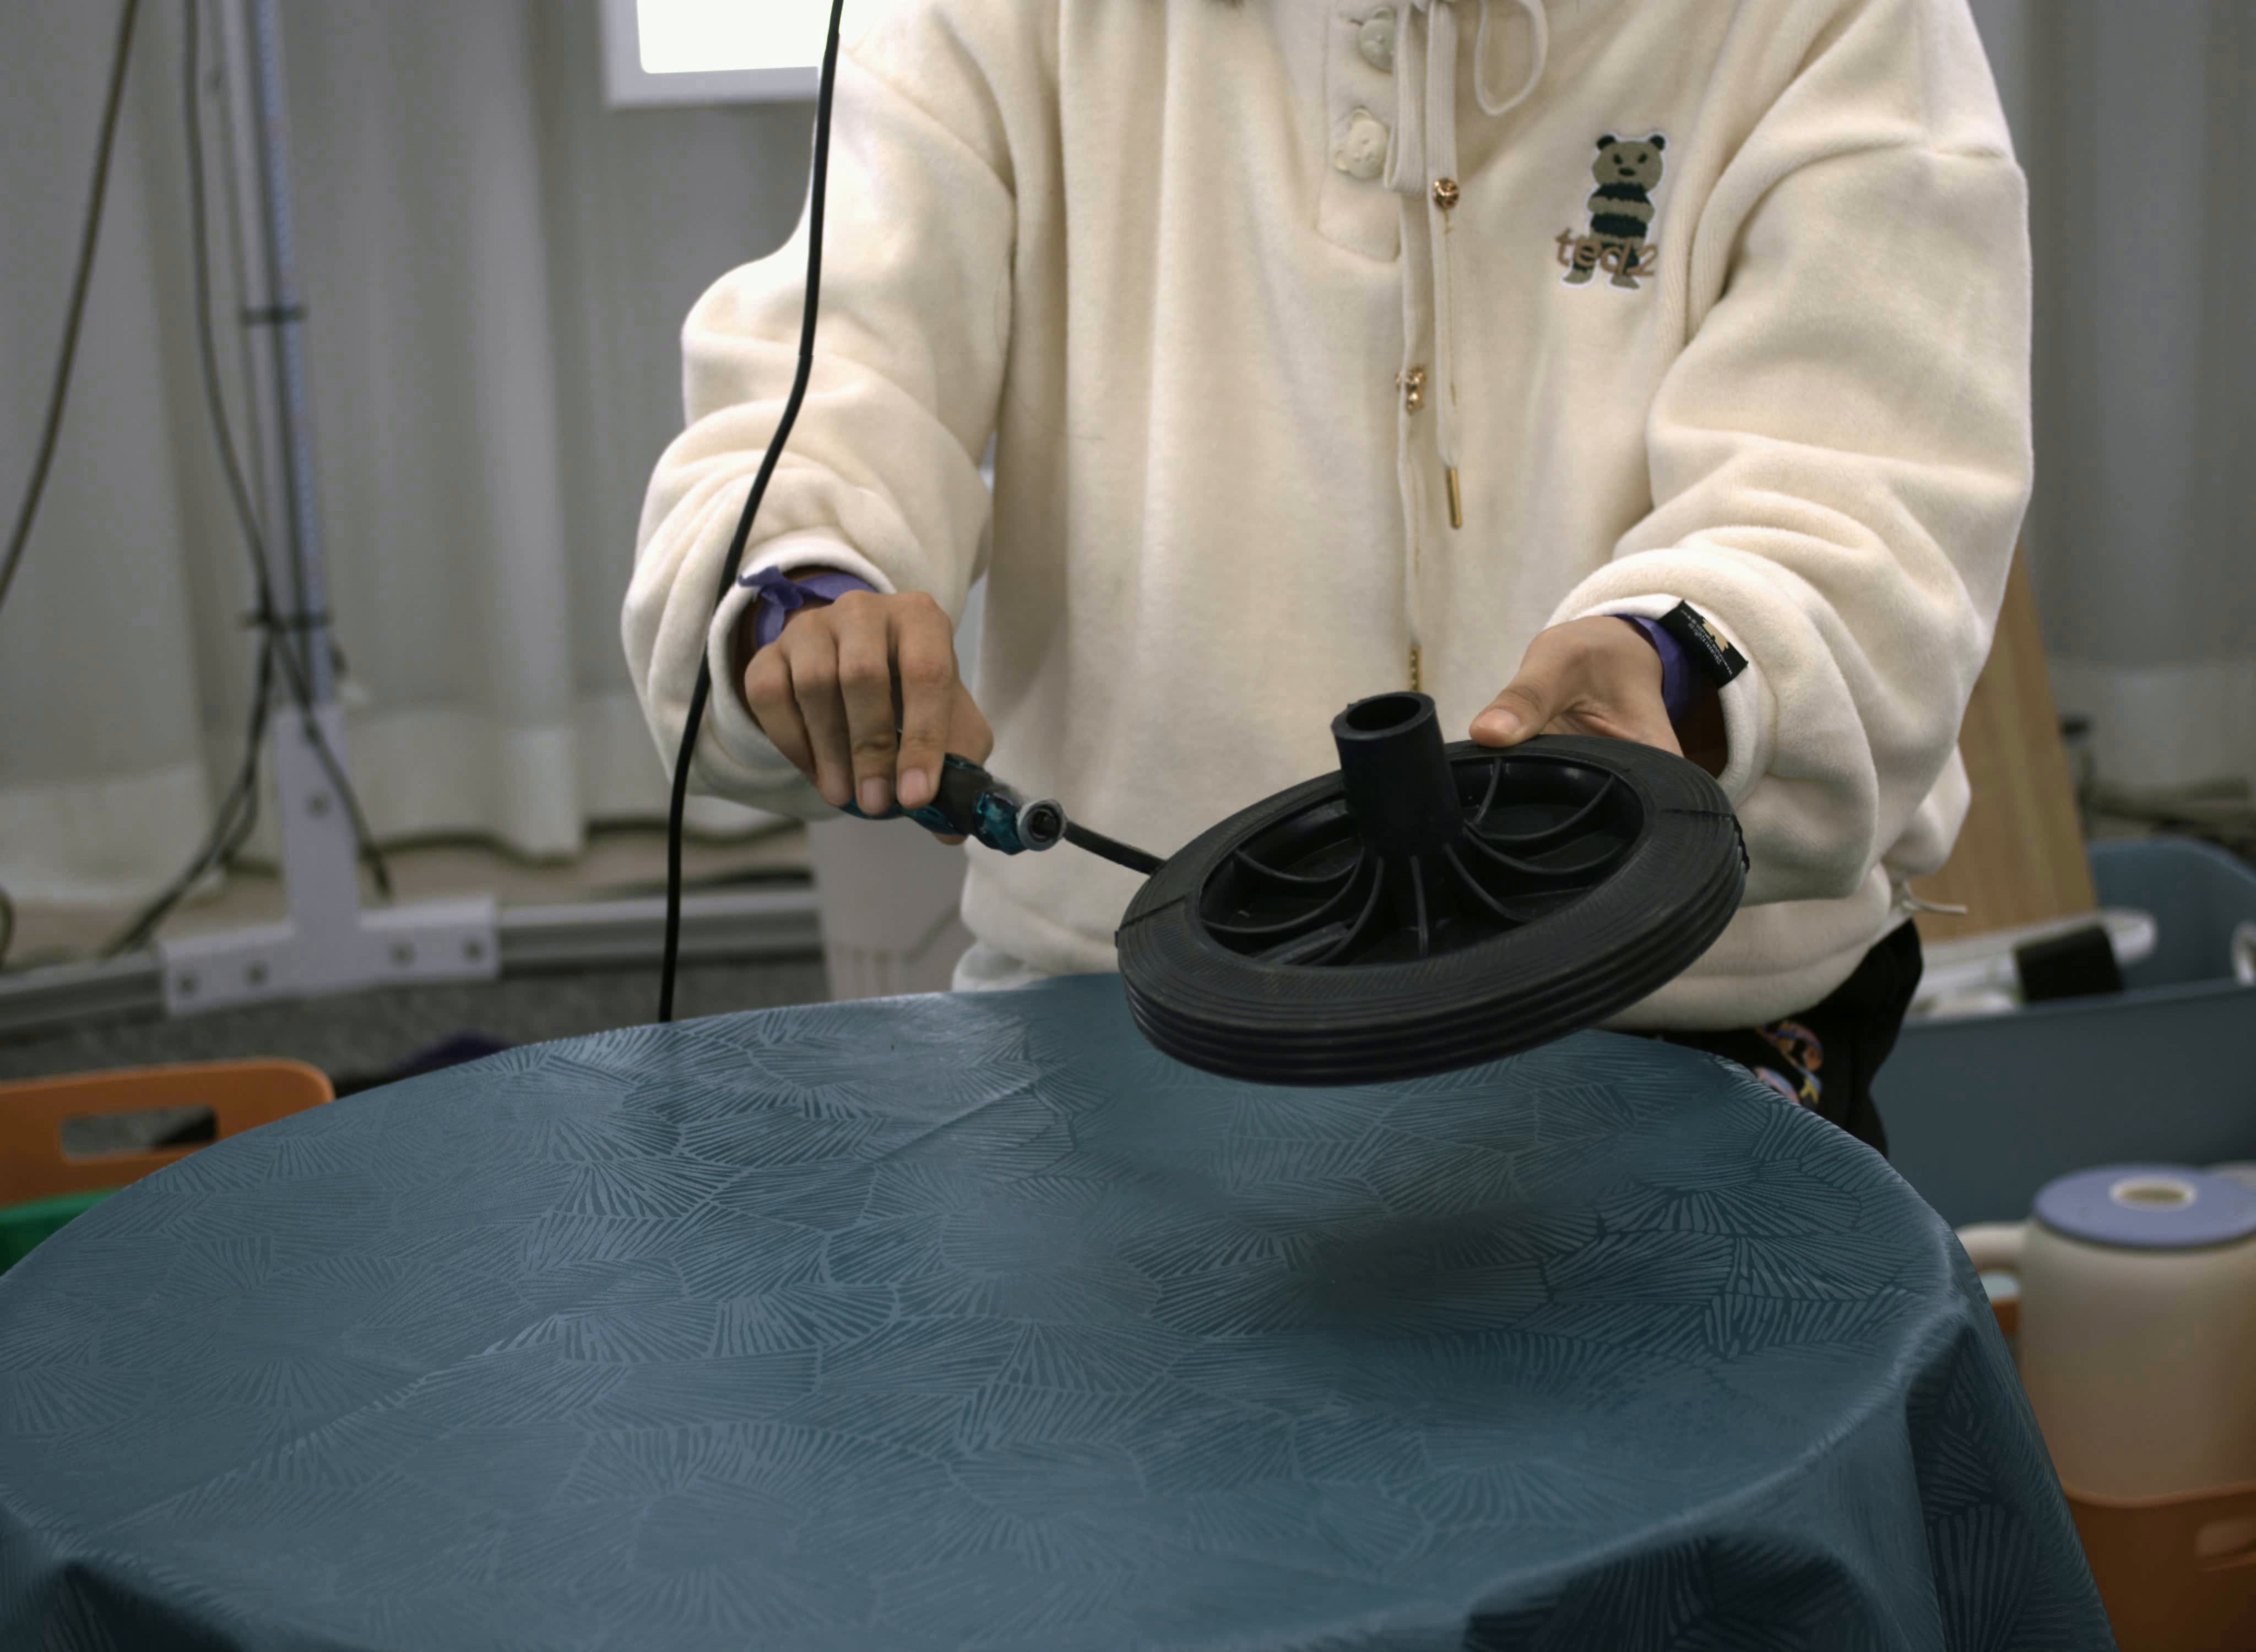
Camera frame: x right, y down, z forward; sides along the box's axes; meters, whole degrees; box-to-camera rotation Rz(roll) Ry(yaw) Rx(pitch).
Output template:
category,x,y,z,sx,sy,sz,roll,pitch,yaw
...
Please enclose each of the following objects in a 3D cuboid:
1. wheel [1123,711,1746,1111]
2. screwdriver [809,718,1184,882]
category,x,y,z,sx,sy,sz,roll,pitch,yaw
wheel,0.083,0.008,1.605,0.188,0.078,0.190,7,33,42
screwdriver,-0.042,-0.003,1.749,0.033,0.033,0.191,-13,19,-34
